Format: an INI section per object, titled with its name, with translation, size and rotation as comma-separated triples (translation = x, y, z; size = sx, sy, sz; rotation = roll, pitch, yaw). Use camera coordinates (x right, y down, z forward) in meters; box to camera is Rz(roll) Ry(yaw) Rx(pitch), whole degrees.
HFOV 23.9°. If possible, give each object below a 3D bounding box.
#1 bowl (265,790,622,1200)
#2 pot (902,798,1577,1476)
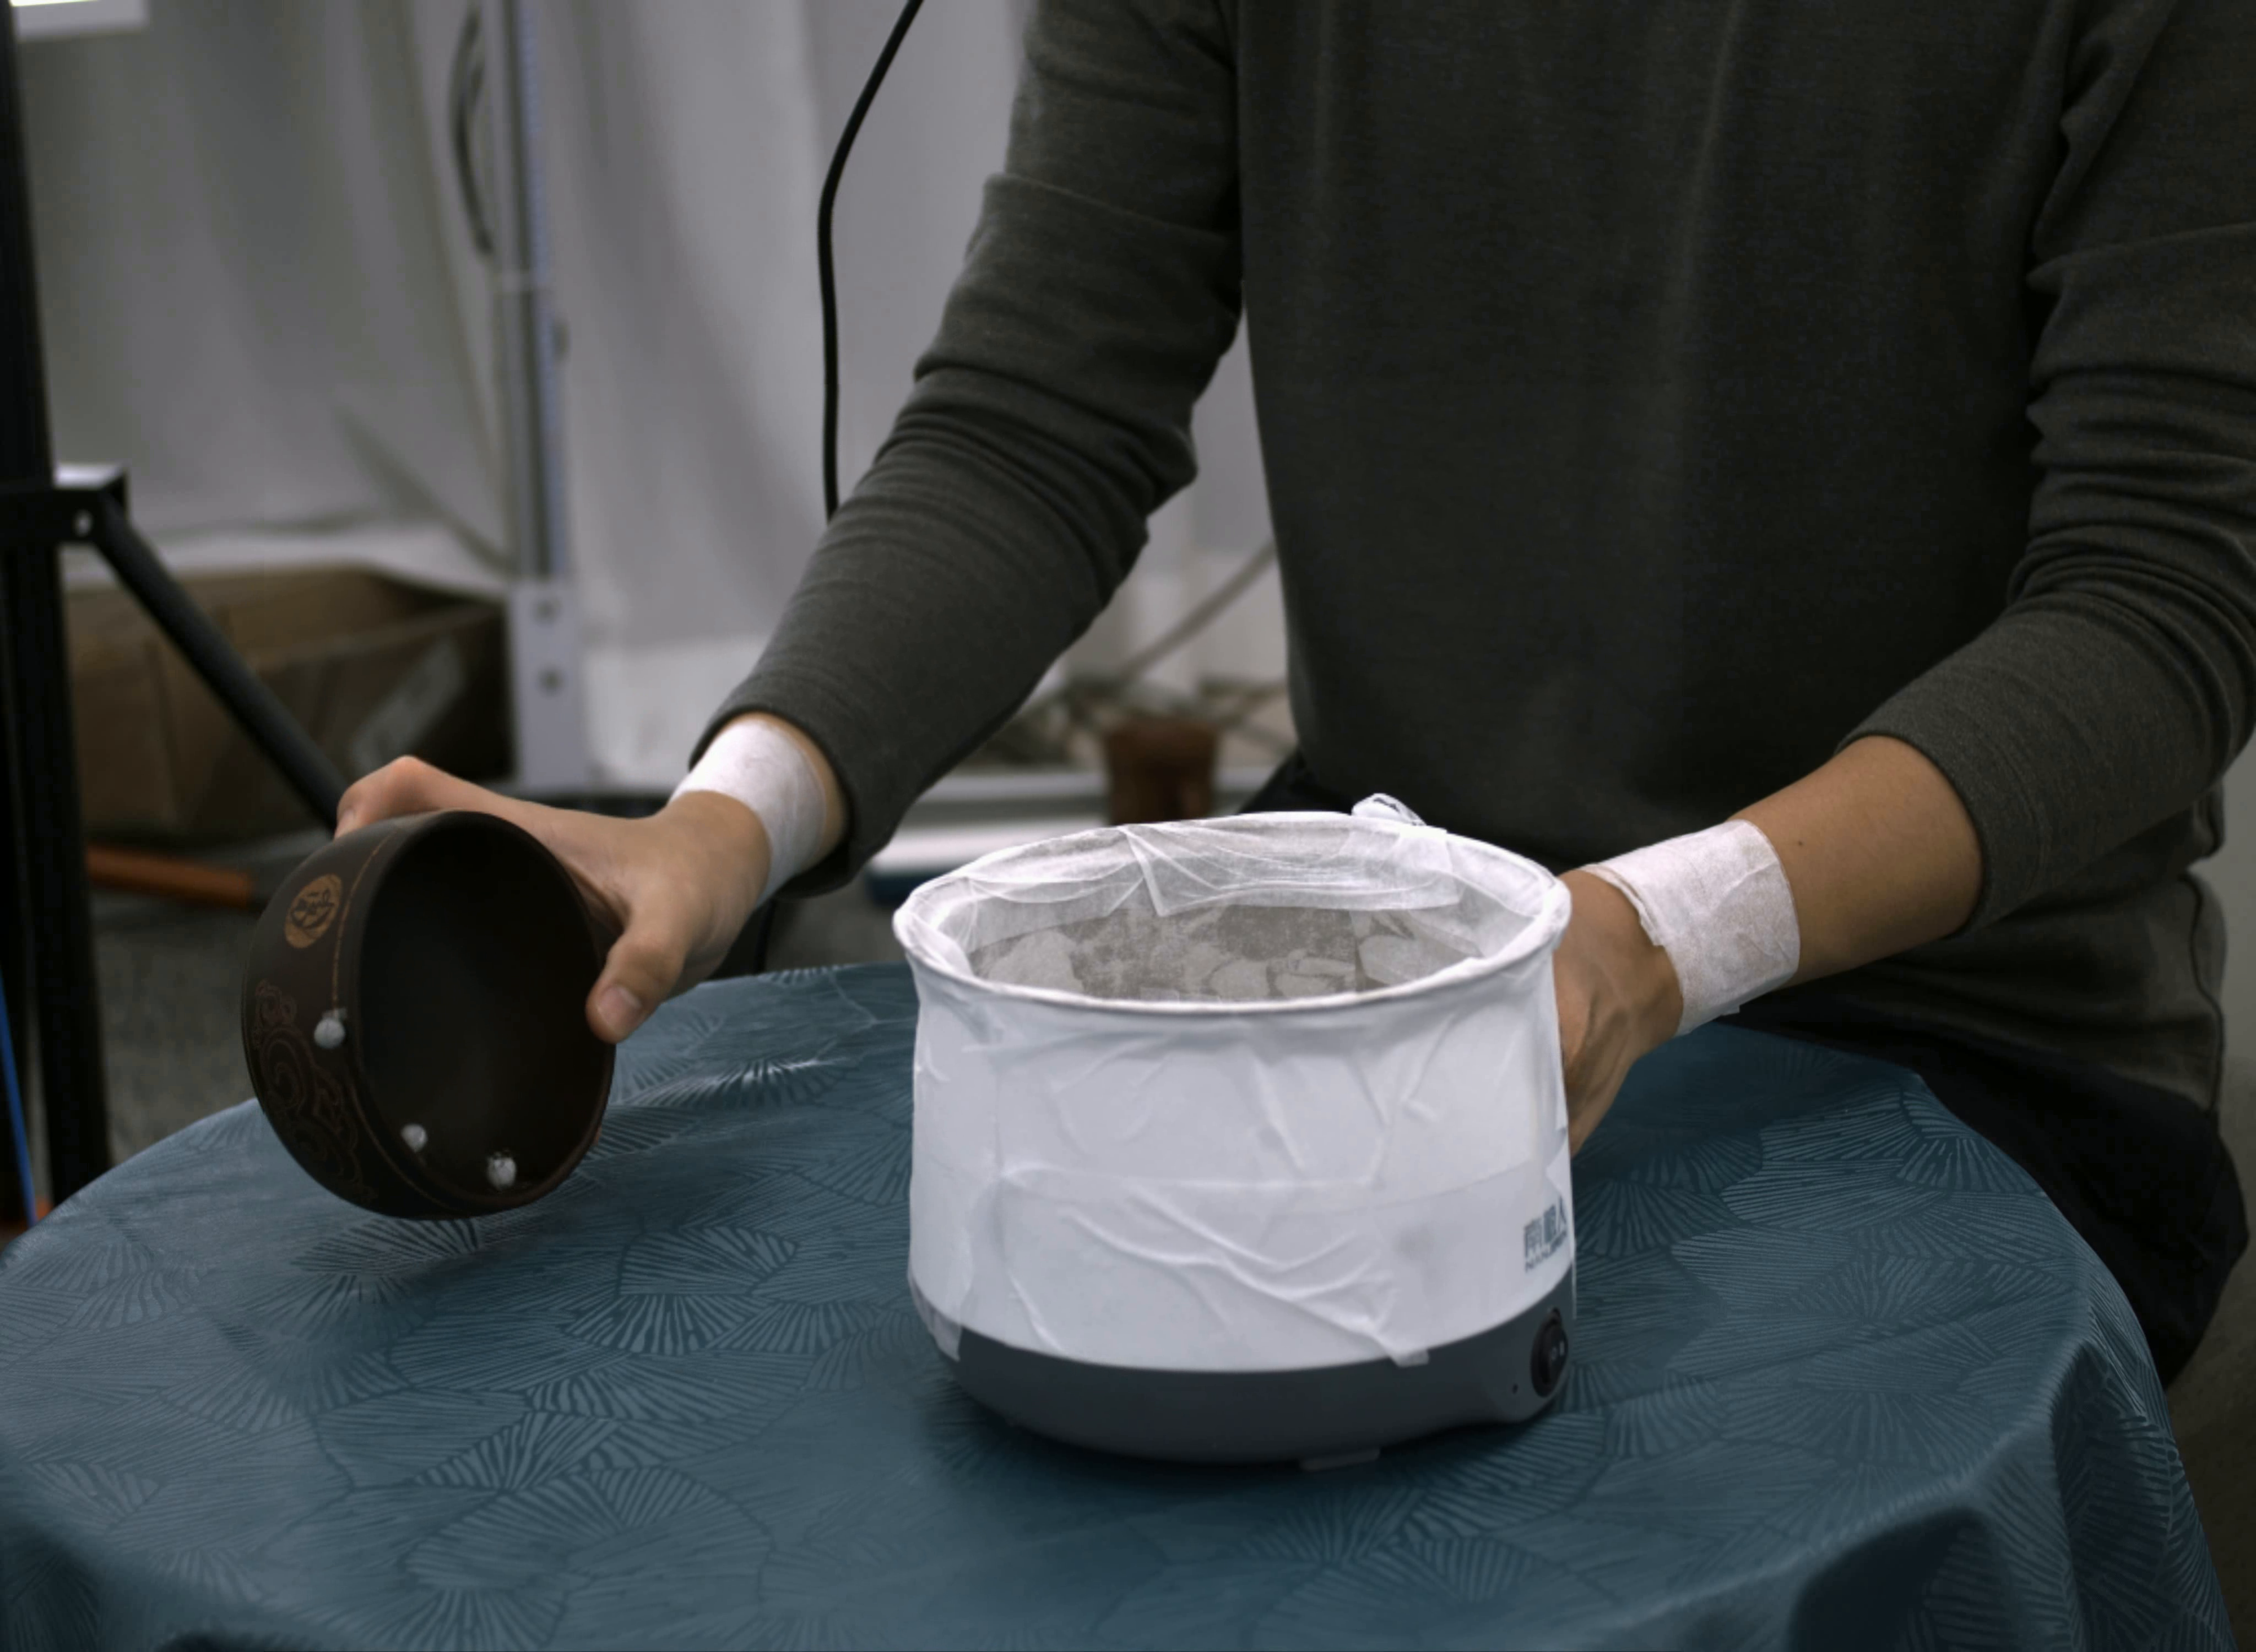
[bowl]
translation = -0.206, 0.051, 1.553
size = 0.071, 0.118, 0.116
rotation = -6, 12, 28
[pot]
translation = 0.041, 0.076, 1.422
size = 0.181, 0.136, 0.230
rotation = 5, 16, 25
